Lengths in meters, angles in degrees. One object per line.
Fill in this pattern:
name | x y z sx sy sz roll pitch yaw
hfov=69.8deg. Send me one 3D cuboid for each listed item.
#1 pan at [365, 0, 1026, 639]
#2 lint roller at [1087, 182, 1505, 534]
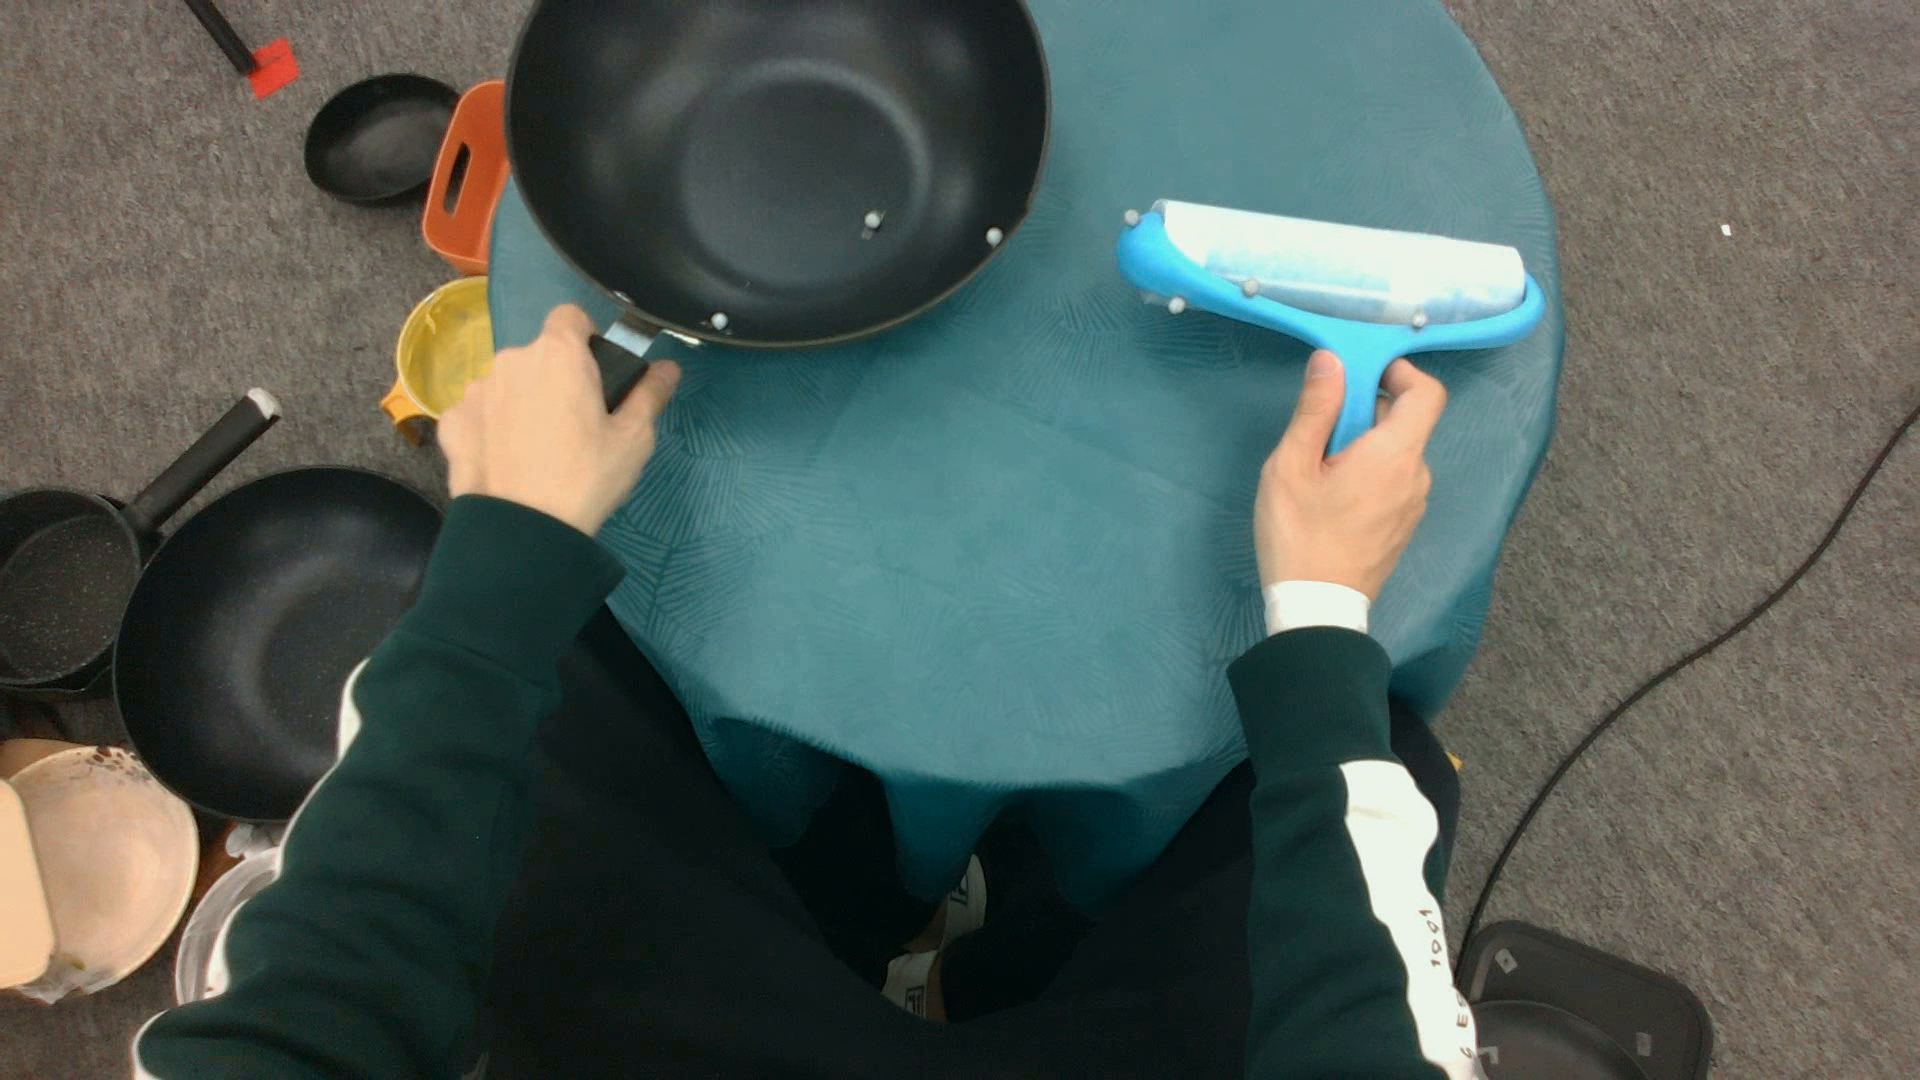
pan | -0.149 -0.142 0.723 0.288 0.086 0.464 27 75 7
lint roller | 0.182 -0.097 0.709 0.229 0.067 0.181 2 68 -14
